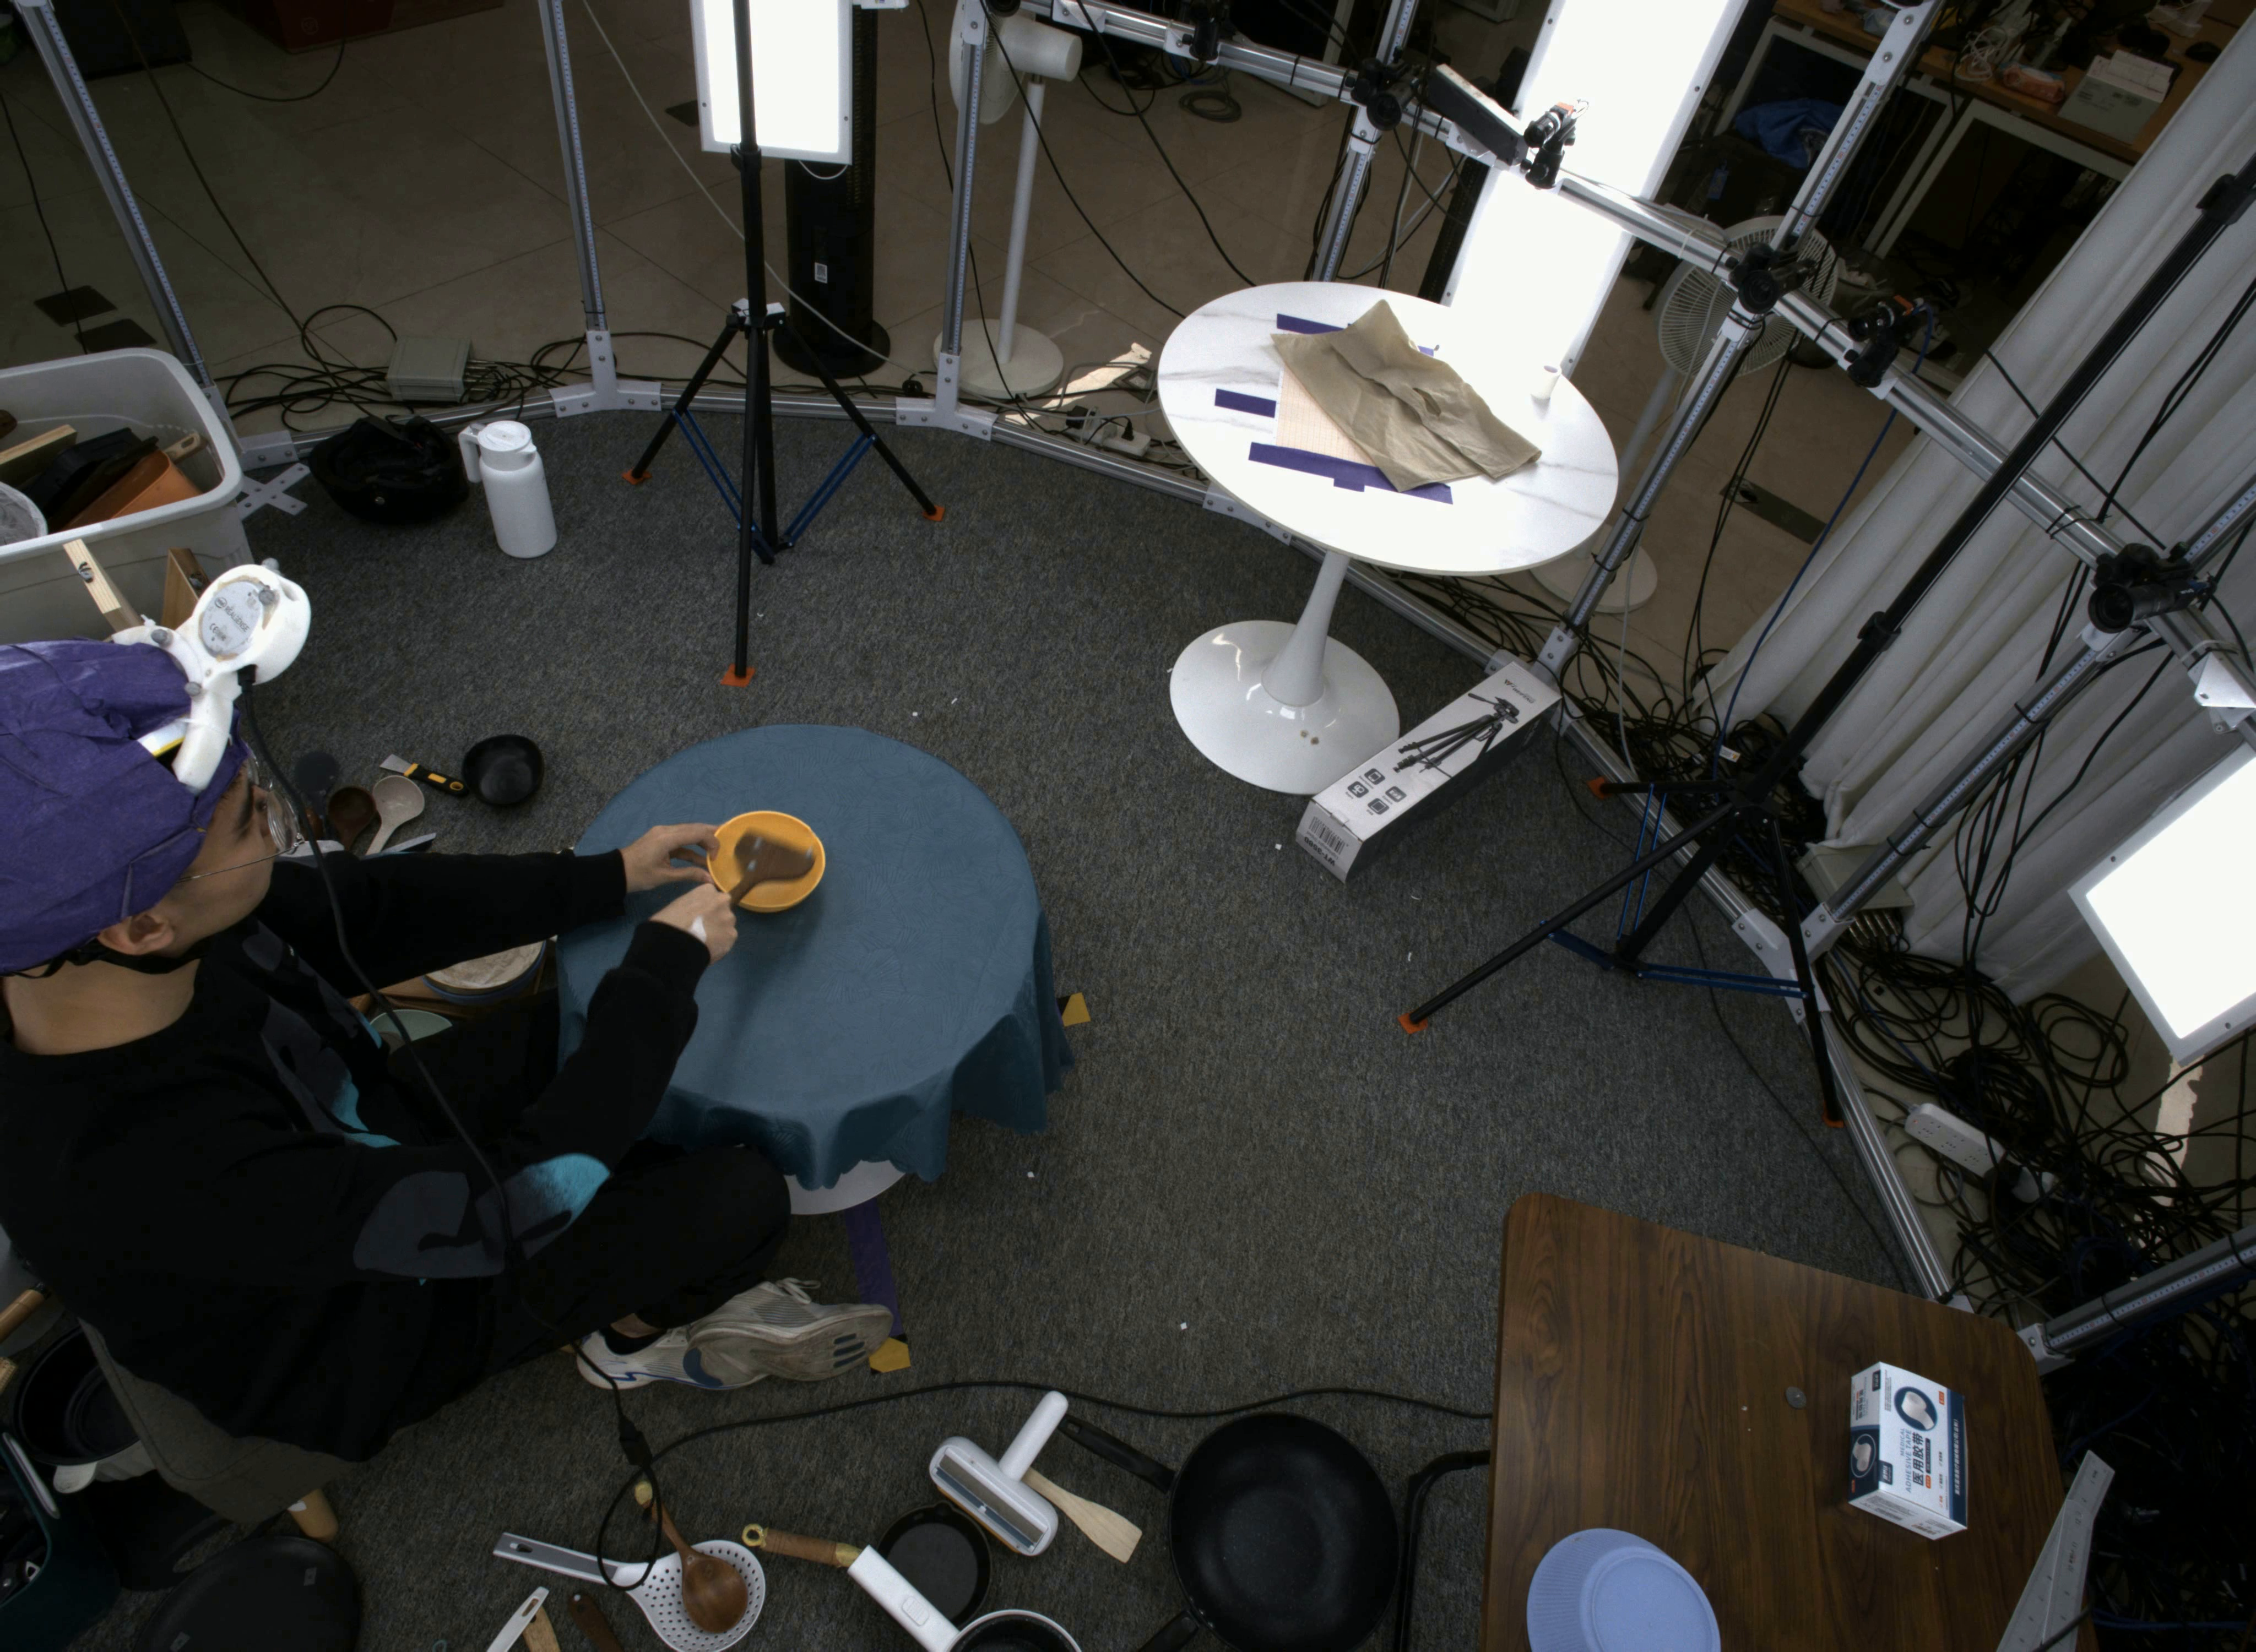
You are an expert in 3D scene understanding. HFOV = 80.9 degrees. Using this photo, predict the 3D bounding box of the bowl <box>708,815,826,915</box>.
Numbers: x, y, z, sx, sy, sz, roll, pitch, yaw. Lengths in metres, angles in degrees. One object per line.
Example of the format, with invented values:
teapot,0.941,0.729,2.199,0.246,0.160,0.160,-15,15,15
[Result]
bowl,-0.456,0.059,1.637,0.145,0.061,0.143,9,51,-10

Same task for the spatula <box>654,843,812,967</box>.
spatula,-0.443,0.082,1.431,0.096,0.016,0.381,21,14,-3
